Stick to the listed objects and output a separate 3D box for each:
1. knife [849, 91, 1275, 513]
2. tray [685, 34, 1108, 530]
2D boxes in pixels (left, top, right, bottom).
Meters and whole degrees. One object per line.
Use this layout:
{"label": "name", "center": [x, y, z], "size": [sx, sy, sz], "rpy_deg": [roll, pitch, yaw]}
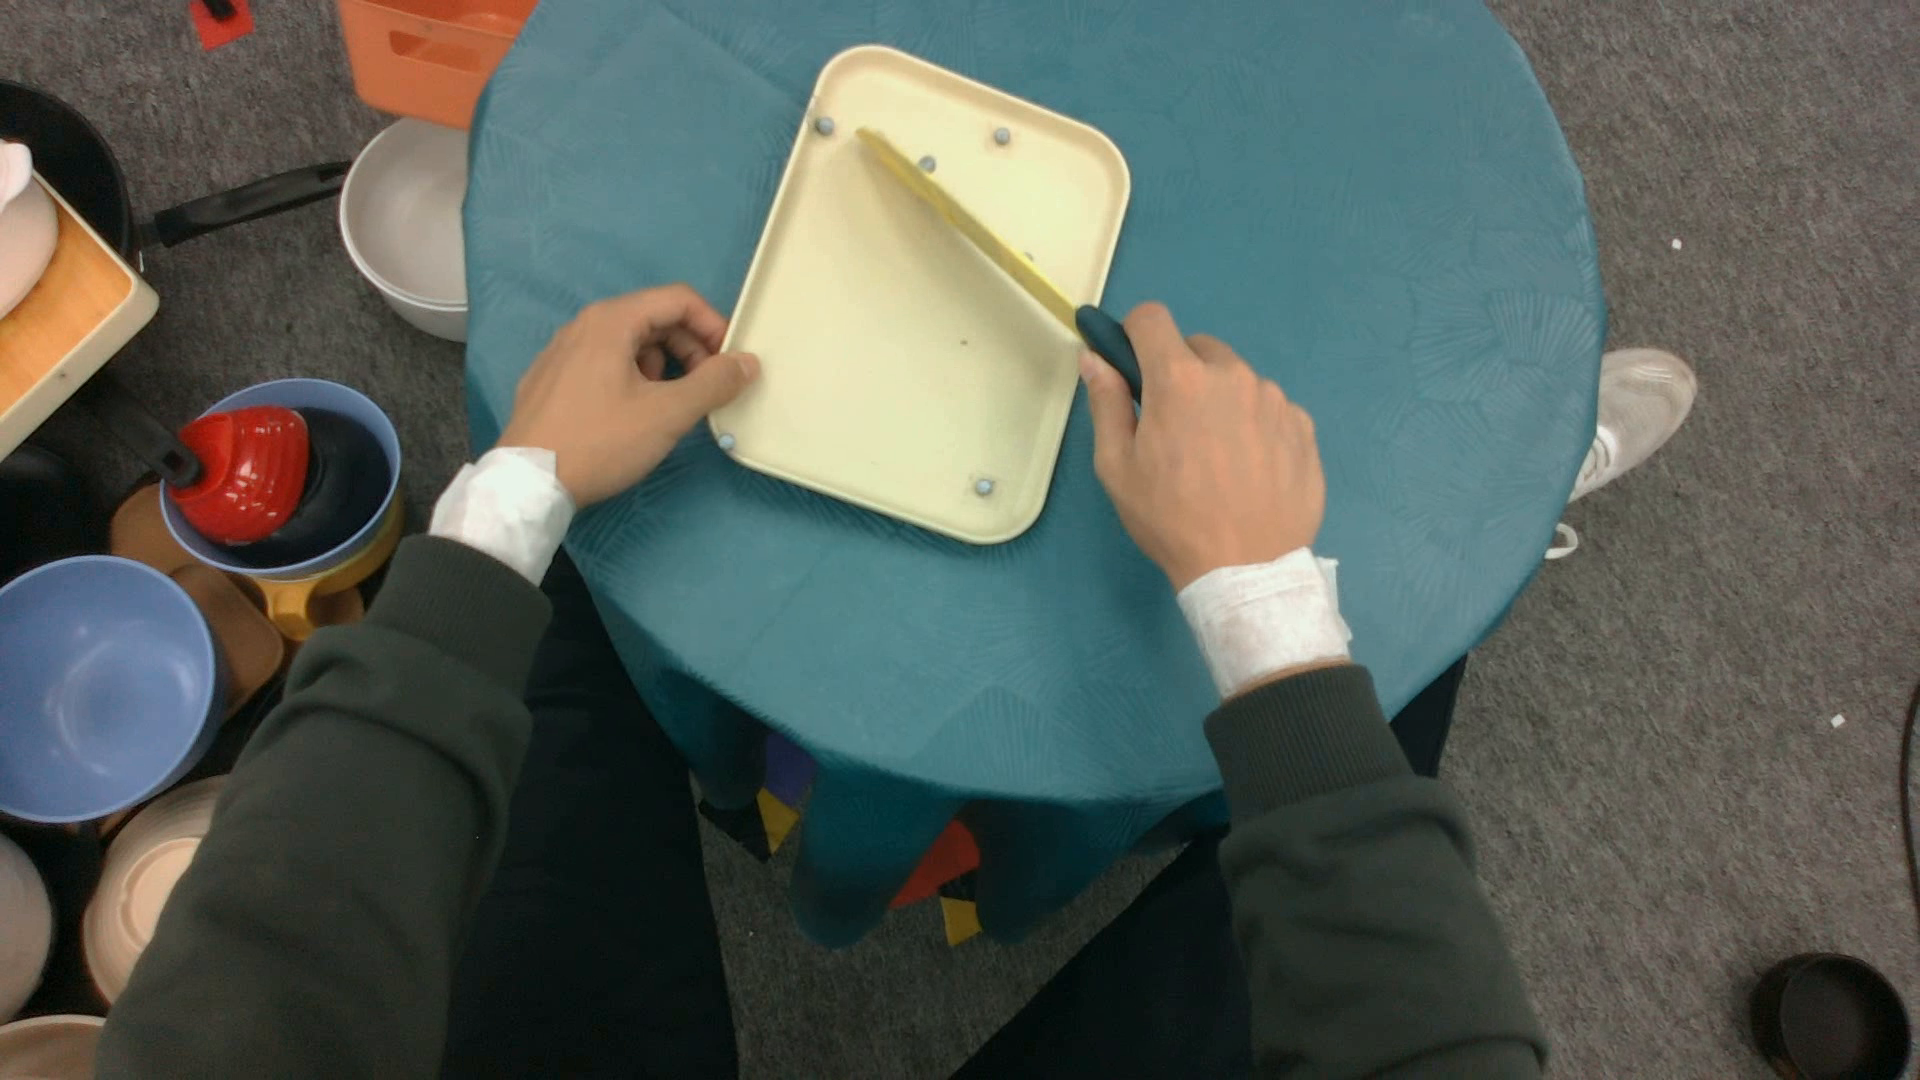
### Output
{"label": "knife", "center": [0.042, -0.119, 0.659], "size": [0.027, 0.081, 0.289], "rpy_deg": [-44, 79, 5]}
{"label": "tray", "center": [-0.026, -0.131, 0.687], "size": [0.171, 0.017, 0.240], "rpy_deg": [19, 71, -9]}
